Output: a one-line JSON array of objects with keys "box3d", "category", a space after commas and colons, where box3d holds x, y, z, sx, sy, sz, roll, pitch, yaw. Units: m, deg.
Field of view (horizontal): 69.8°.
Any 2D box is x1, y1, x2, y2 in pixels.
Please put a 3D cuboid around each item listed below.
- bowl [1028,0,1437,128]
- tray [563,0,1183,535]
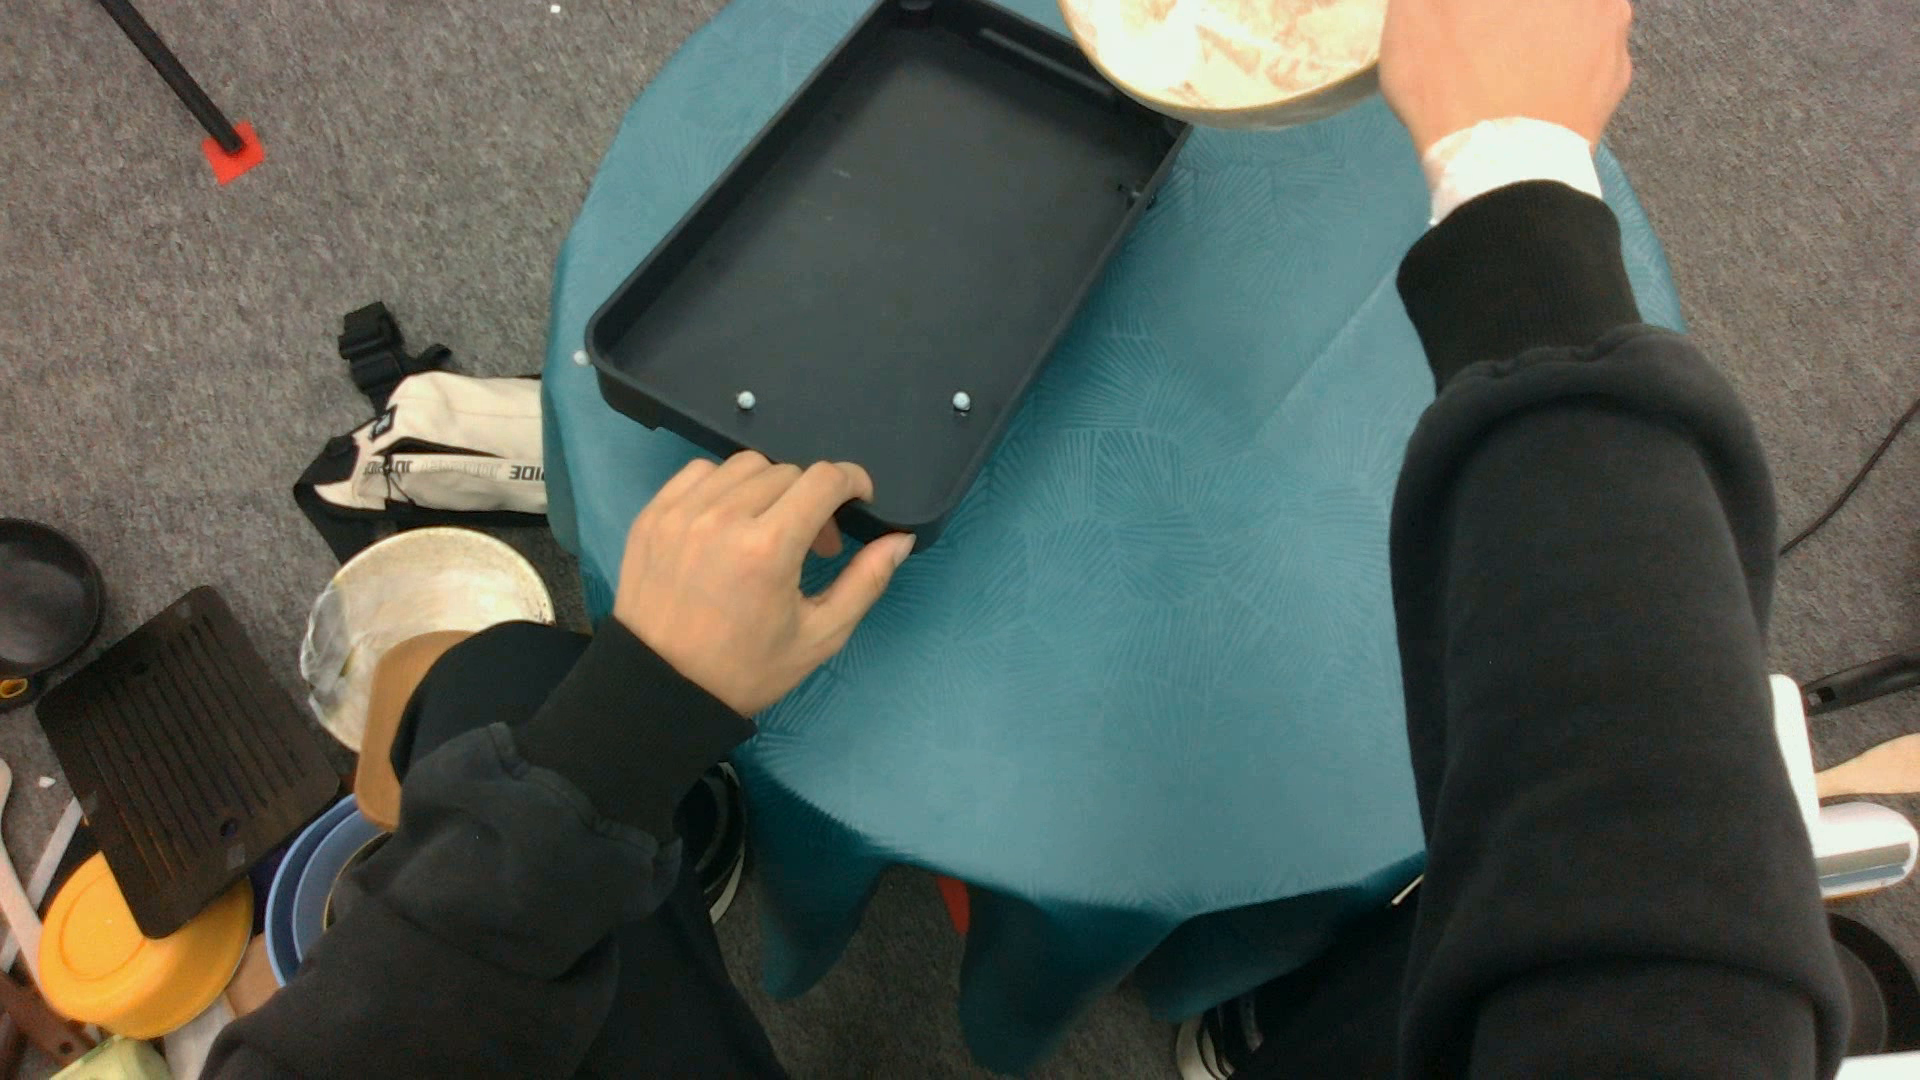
[{"box3d": [0.128, -0.268, 0.590, 0.214, 0.095, 0.215, -2, 86, 28], "category": "bowl"}, {"box3d": [-0.030, -0.157, 0.683, 0.184, 0.037, 0.319, 29, 59, 8], "category": "tray"}]
